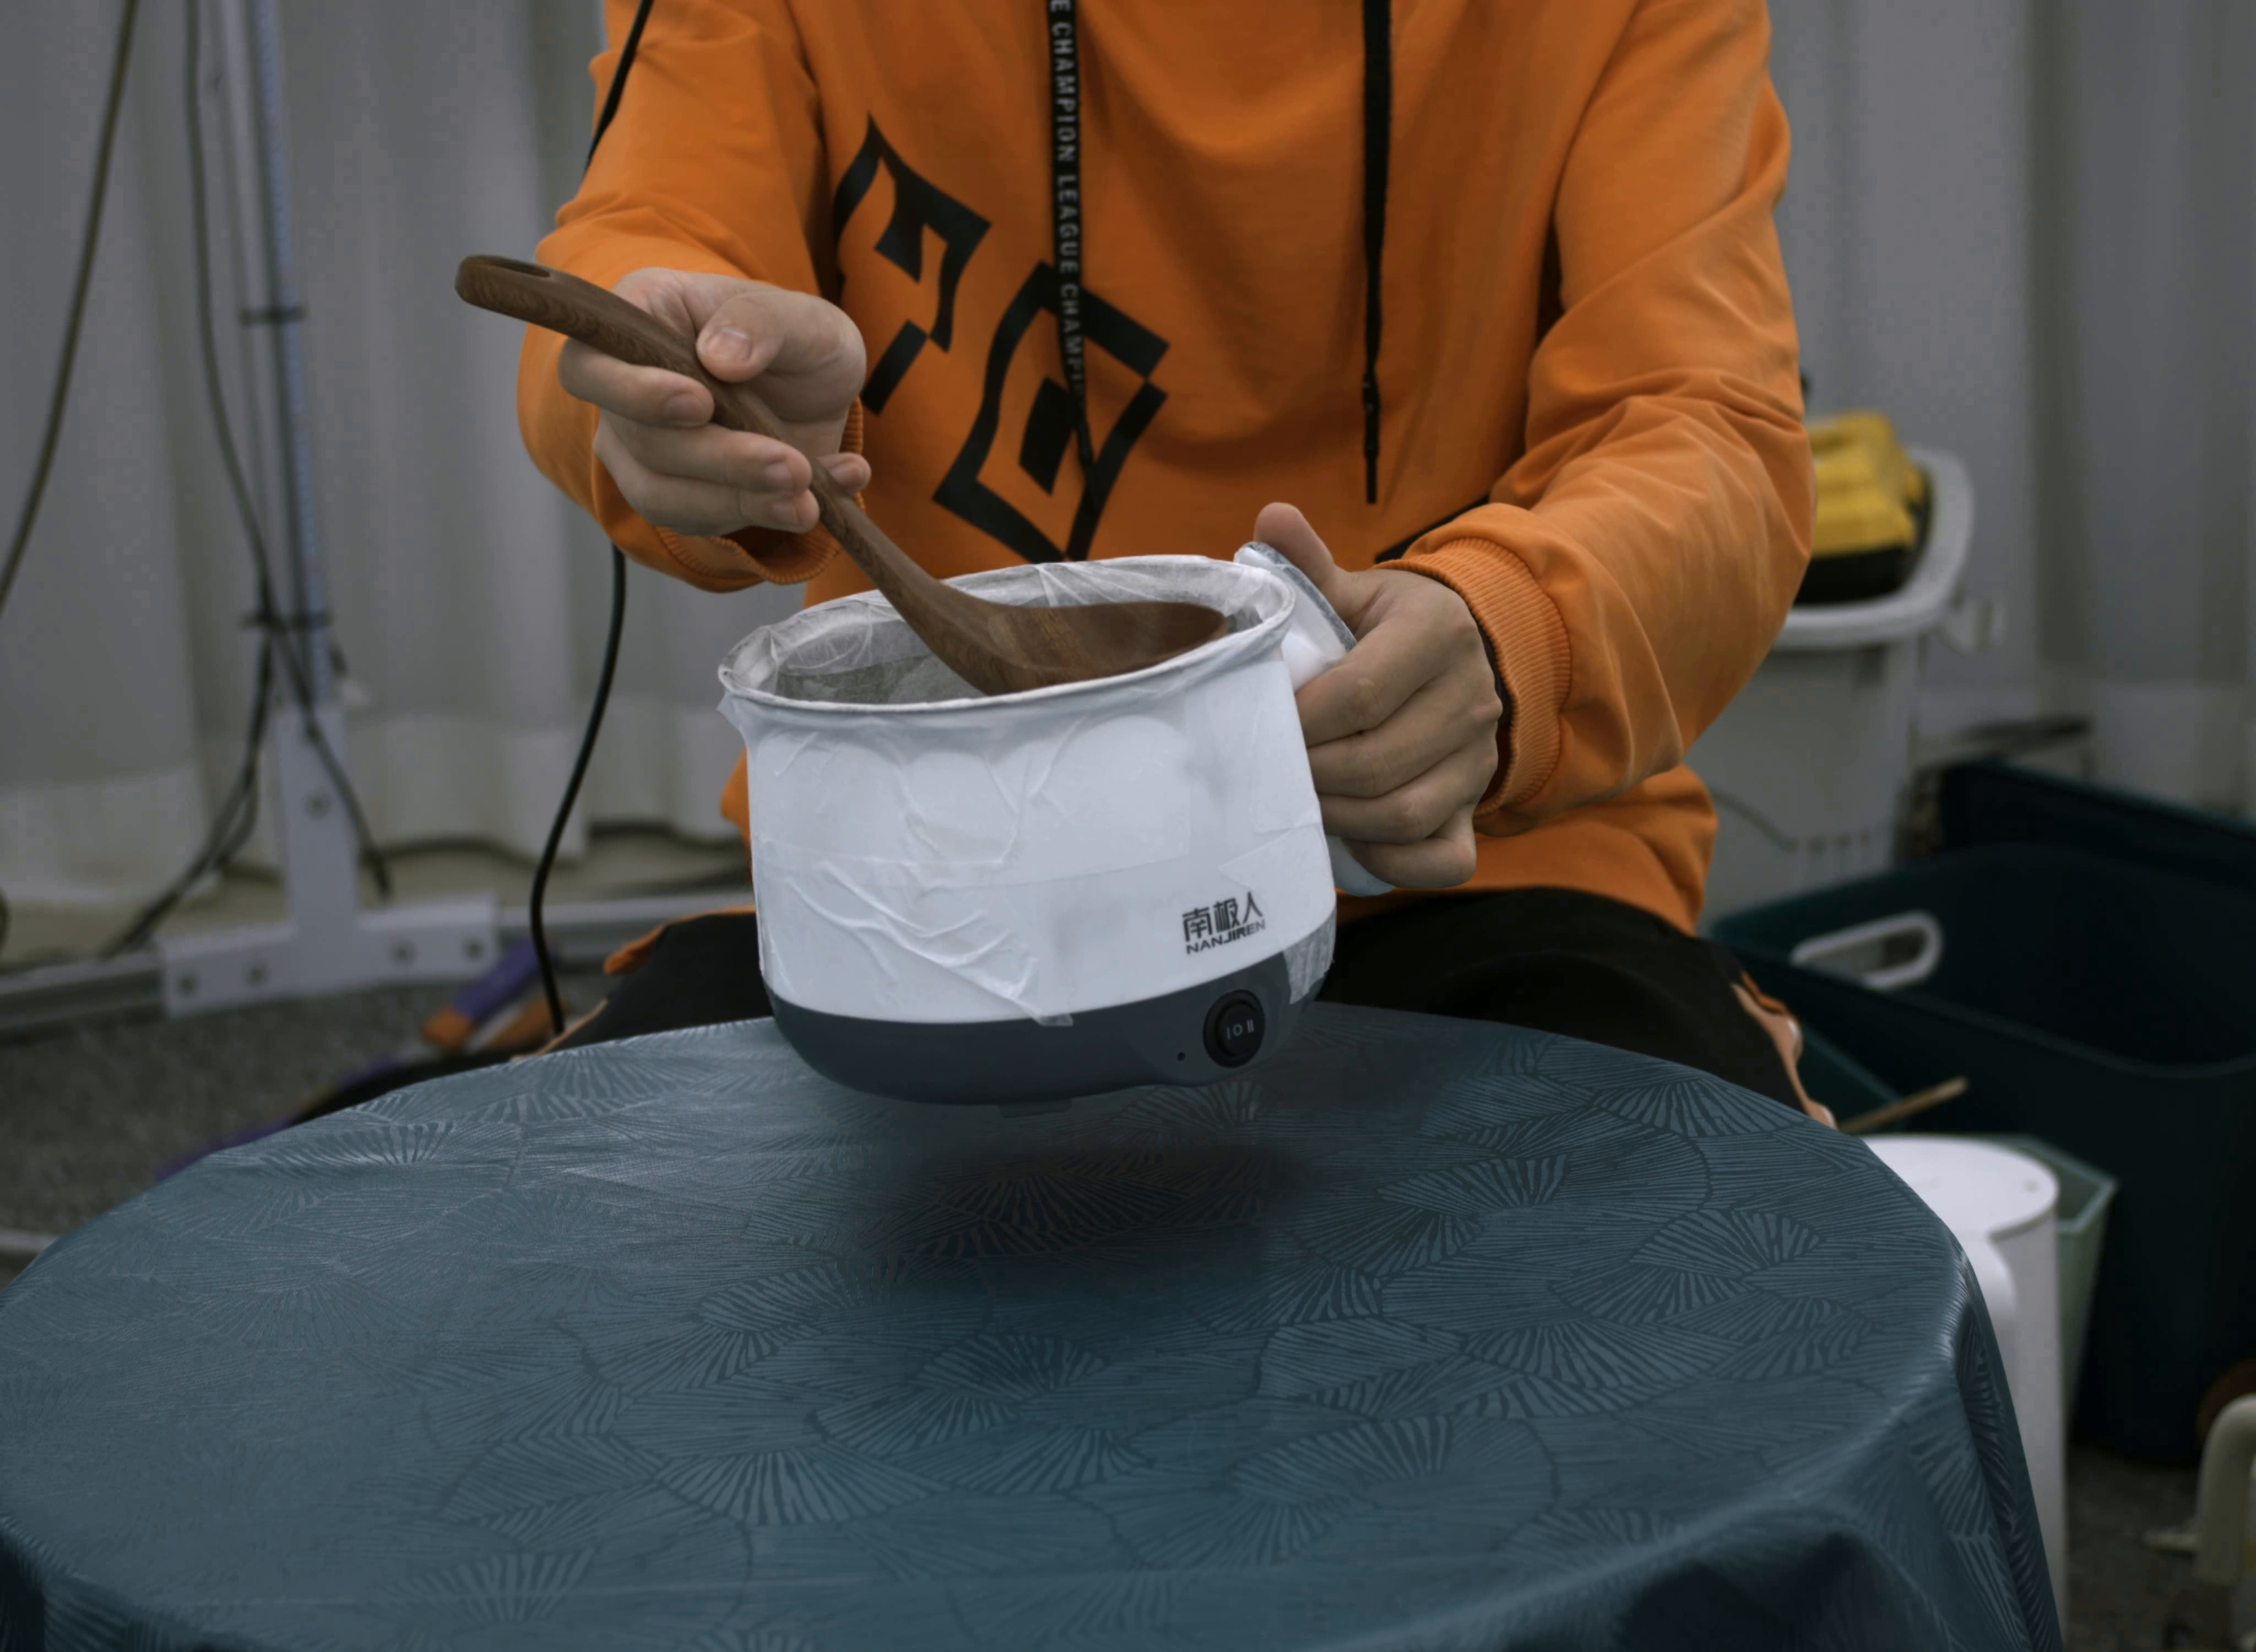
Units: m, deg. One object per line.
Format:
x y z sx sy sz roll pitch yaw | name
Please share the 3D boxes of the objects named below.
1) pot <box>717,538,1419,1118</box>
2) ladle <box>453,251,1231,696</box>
-0.008 -0.006 1.684 0.233 0.136 0.179 -19 19 -37 | pot
-0.084 -0.110 1.640 0.260 0.065 0.077 38 19 0 | ladle
